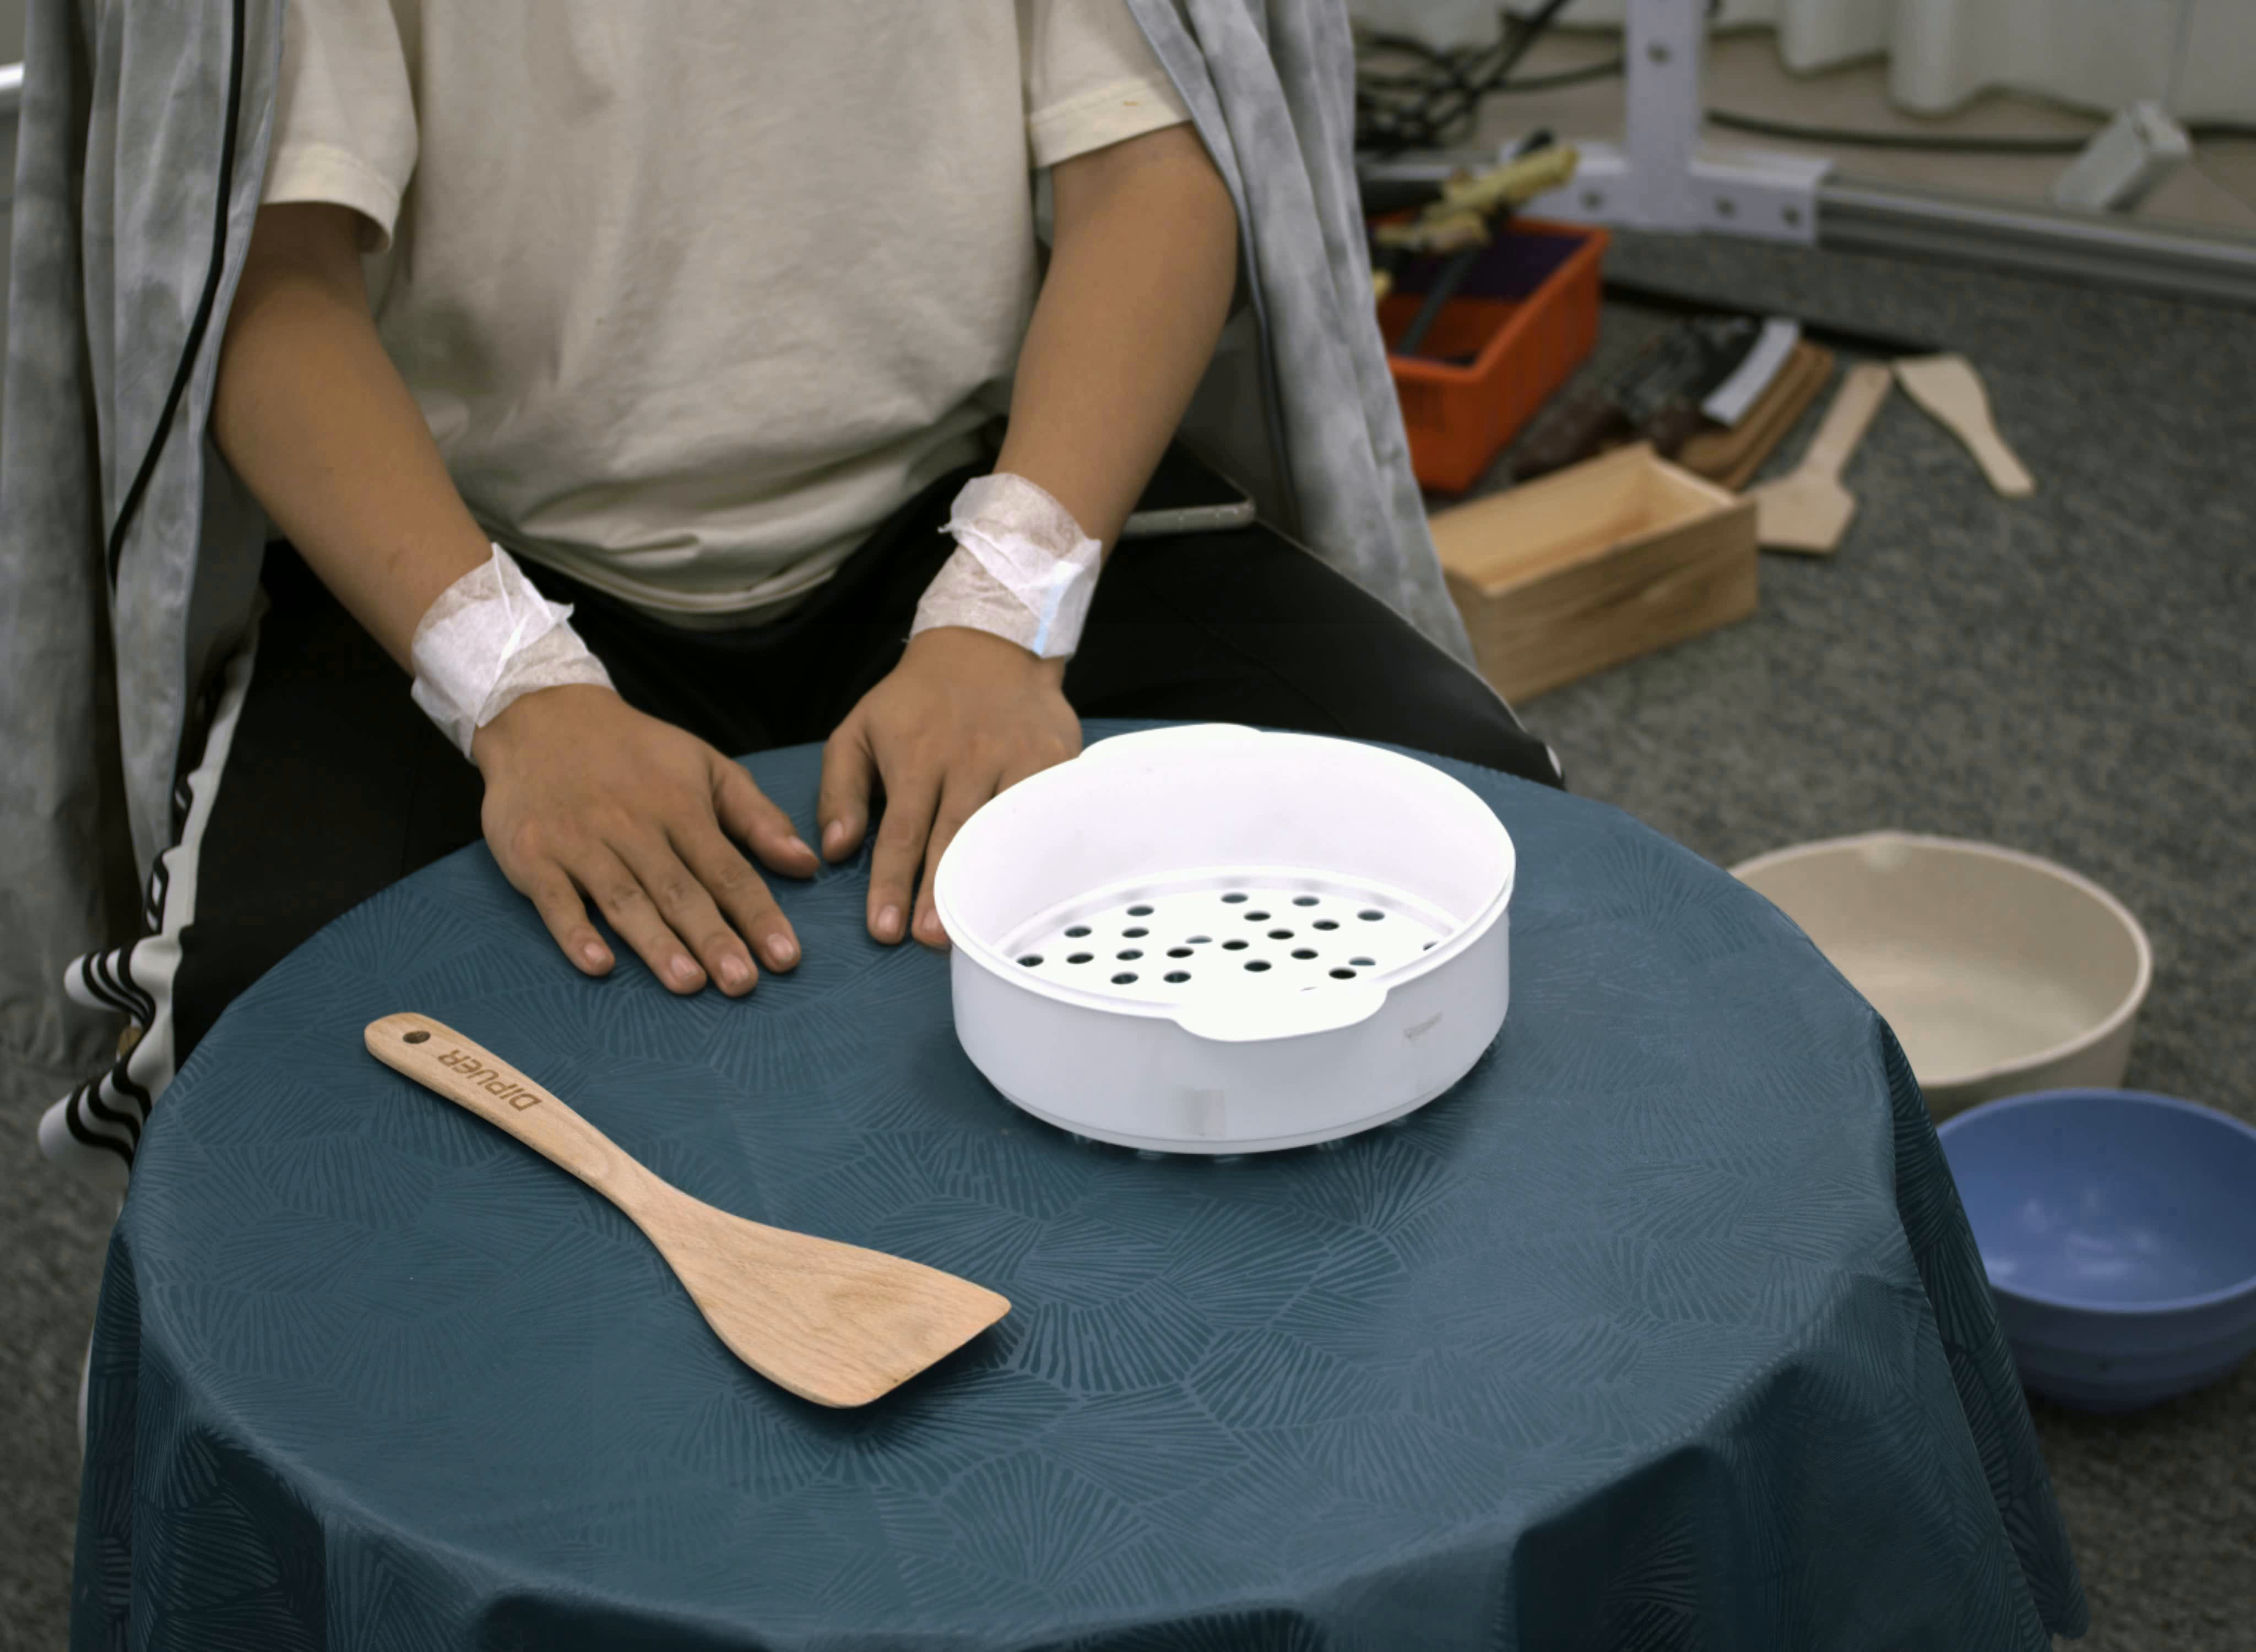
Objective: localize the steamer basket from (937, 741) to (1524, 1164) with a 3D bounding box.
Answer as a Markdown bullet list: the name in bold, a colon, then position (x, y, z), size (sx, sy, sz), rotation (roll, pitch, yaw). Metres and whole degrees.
- **steamer basket**: position (0.036, 0.045, 1.936), size (0.201, 0.068, 0.233), rotation (-6, 26, -8)

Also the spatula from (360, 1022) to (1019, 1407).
- **spatula**: position (-0.158, 0.121, 1.858), size (0.081, 0.016, 0.327), rotation (-22, 33, -34)
